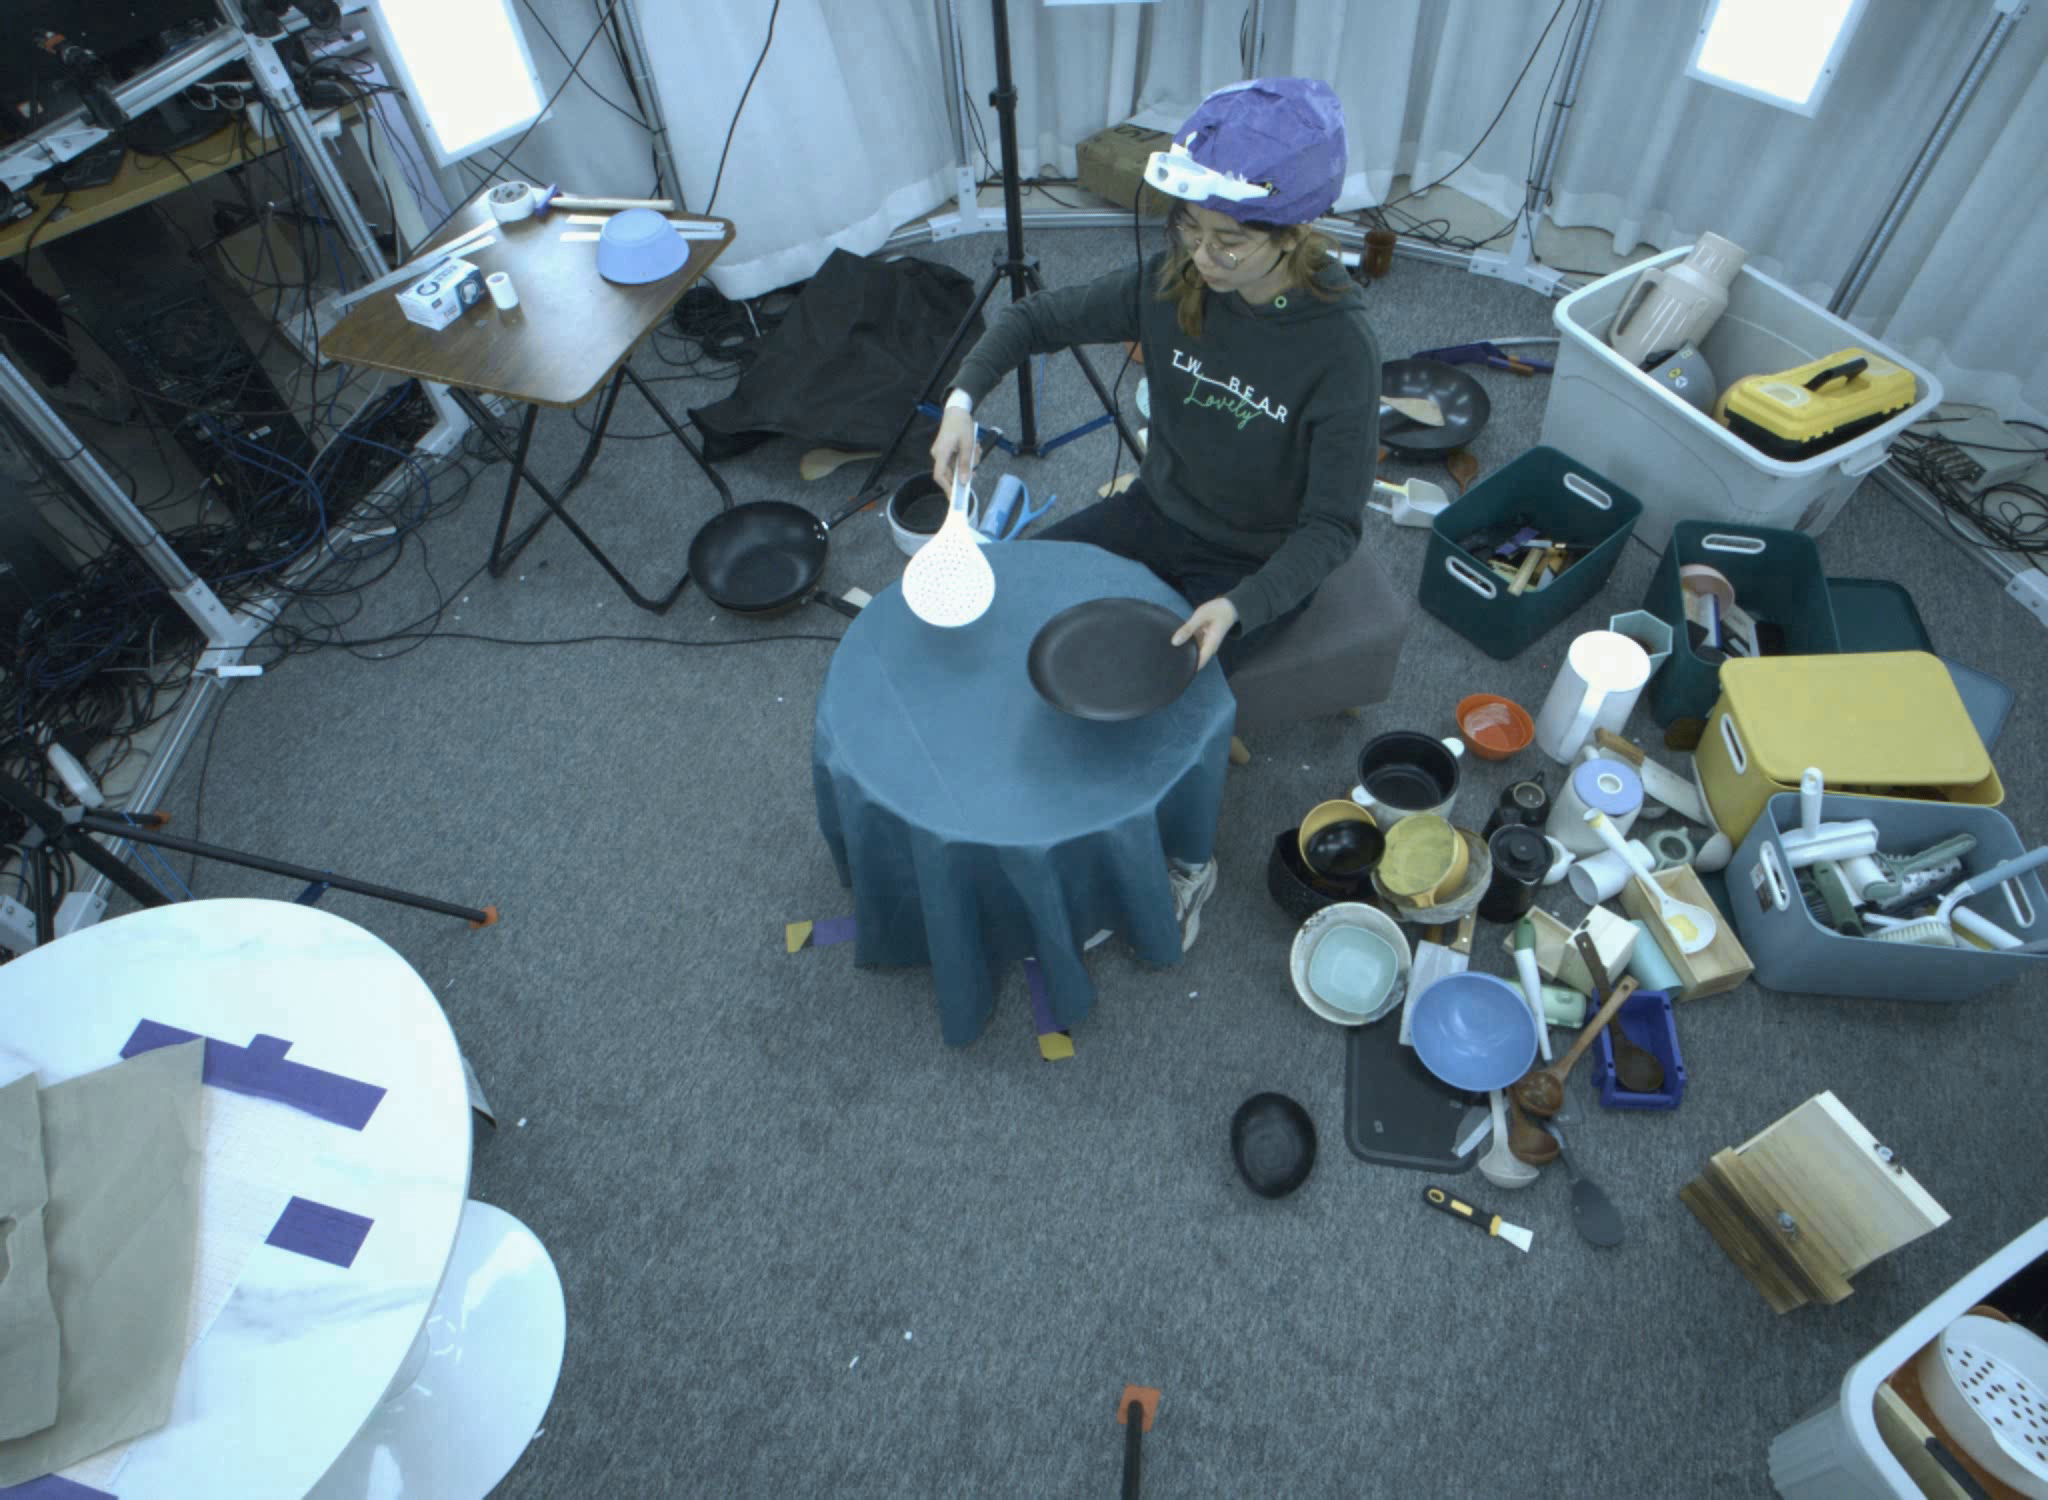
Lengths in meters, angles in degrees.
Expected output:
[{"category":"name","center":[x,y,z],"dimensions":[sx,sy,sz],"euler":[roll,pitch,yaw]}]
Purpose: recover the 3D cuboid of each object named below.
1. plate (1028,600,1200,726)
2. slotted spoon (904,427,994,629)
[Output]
[{"category":"plate","center":[0.128,-0.121,1.747],"dimensions":[0.244,0.024,0.242],"euler":[-2,51,4]},{"category":"slotted spoon","center":[-0.102,-0.345,1.868],"dimensions":[0.137,0.045,0.348],"euler":[7,79,-6]}]
